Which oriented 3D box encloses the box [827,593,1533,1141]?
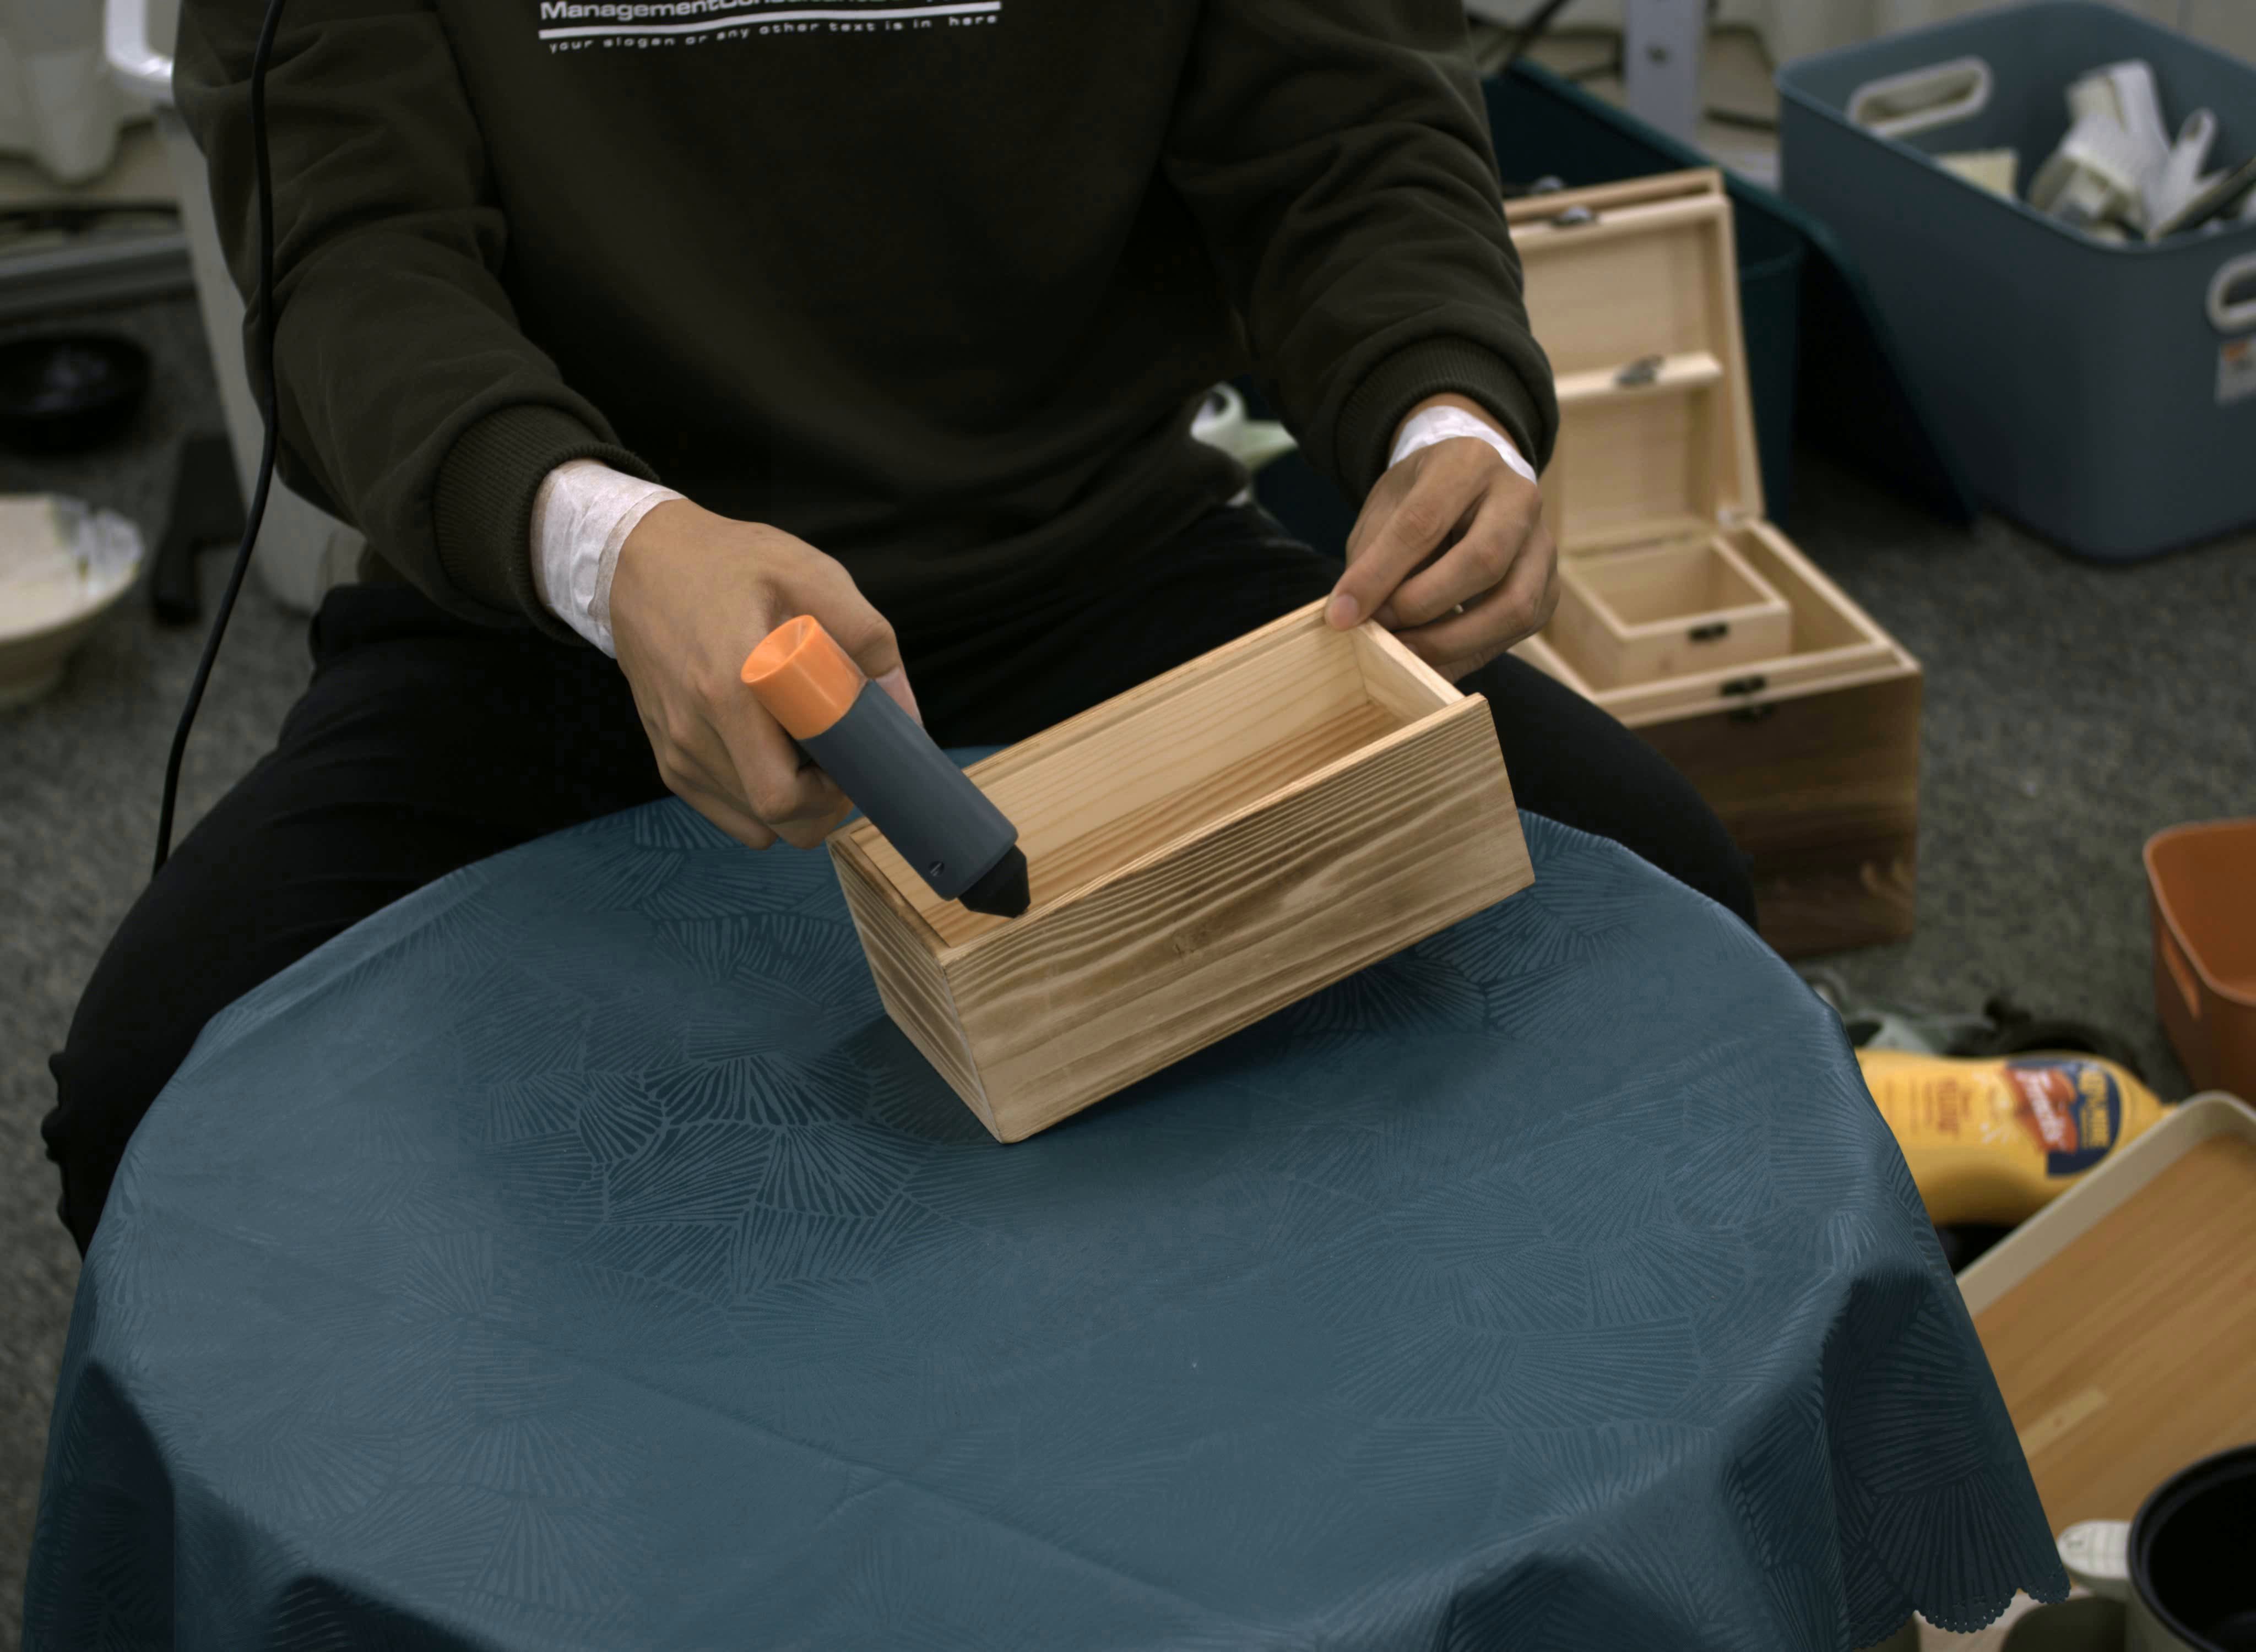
[{"bbox_3d":[0.018,0.012,1.946,0.212,0.079,0.108,-26,32,-15],"label":"box"}]

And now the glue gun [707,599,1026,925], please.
[{"bbox_3d":[-0.089,-0.025,1.905,0.041,0.117,0.140,-41,23,-6],"label":"glue gun"}]
